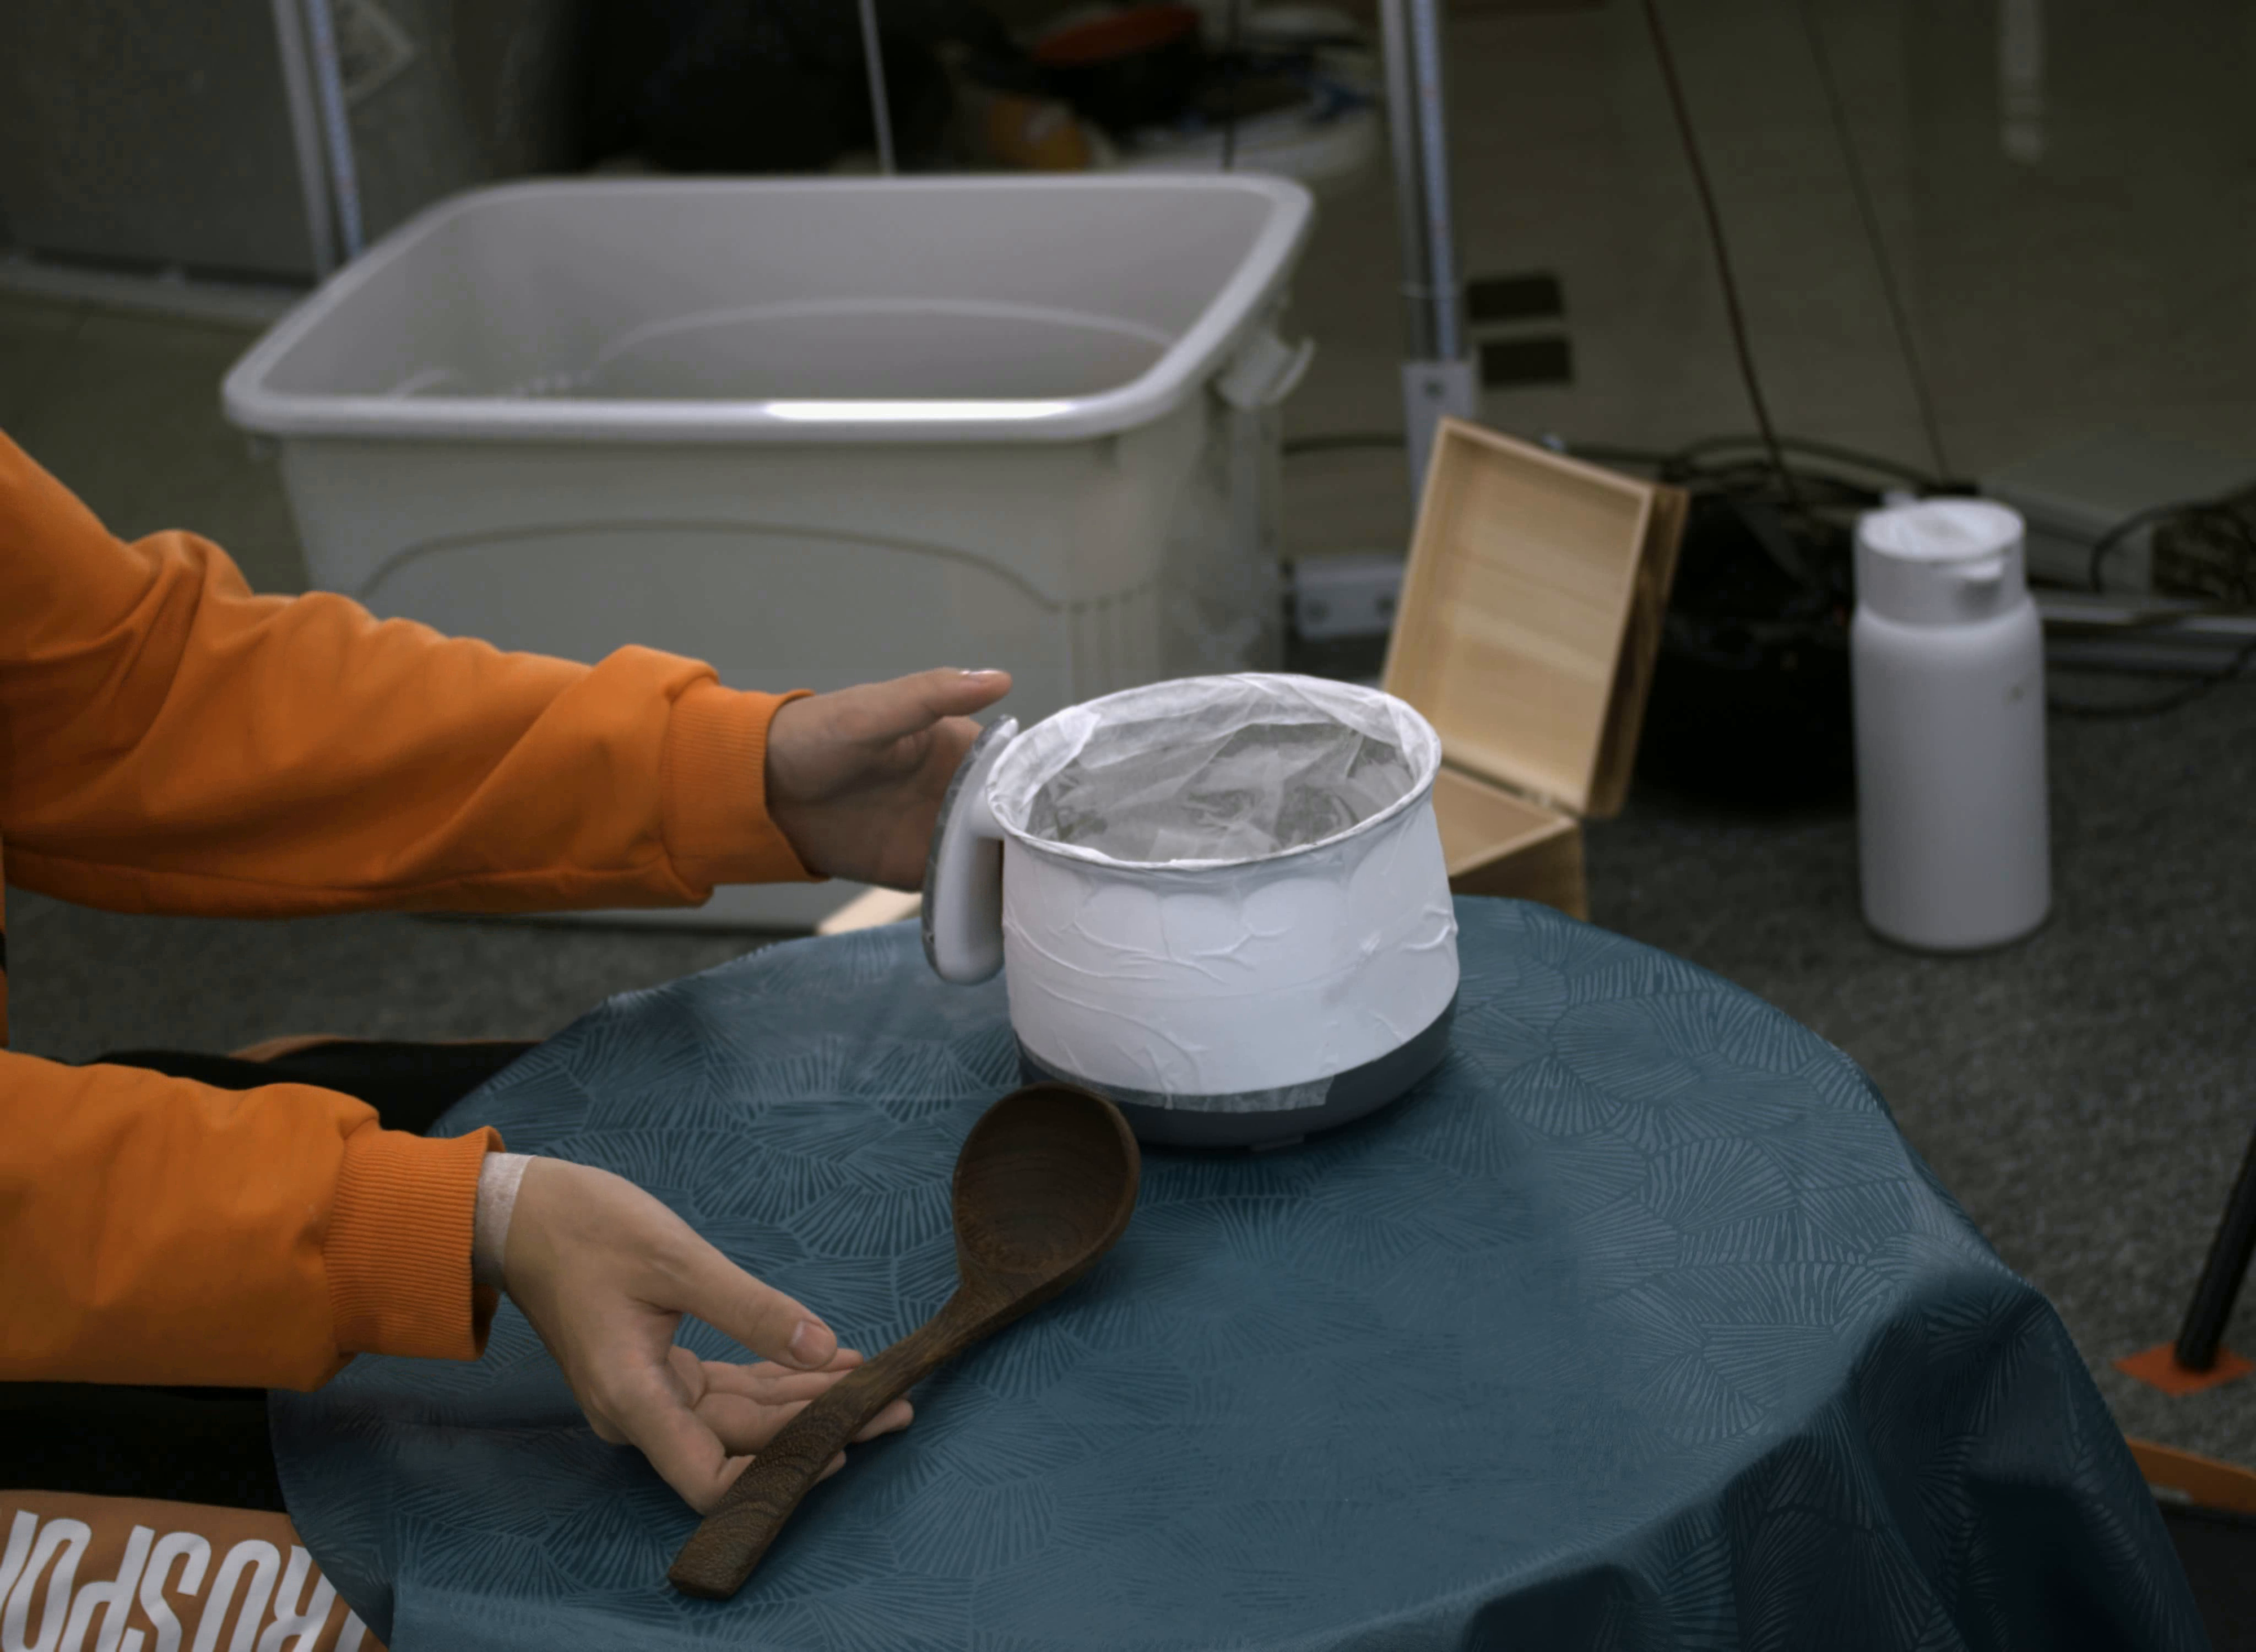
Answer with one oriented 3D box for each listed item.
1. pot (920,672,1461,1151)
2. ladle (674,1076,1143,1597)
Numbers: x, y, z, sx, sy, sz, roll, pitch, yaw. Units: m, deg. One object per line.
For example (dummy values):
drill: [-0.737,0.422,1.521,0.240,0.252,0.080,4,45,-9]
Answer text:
pot: [0.015,0.030,2.212,0.232,0.139,0.177,11,30,31]
ladle: [-0.082,0.174,2.007,0.076,0.072,0.271,6,27,31]
